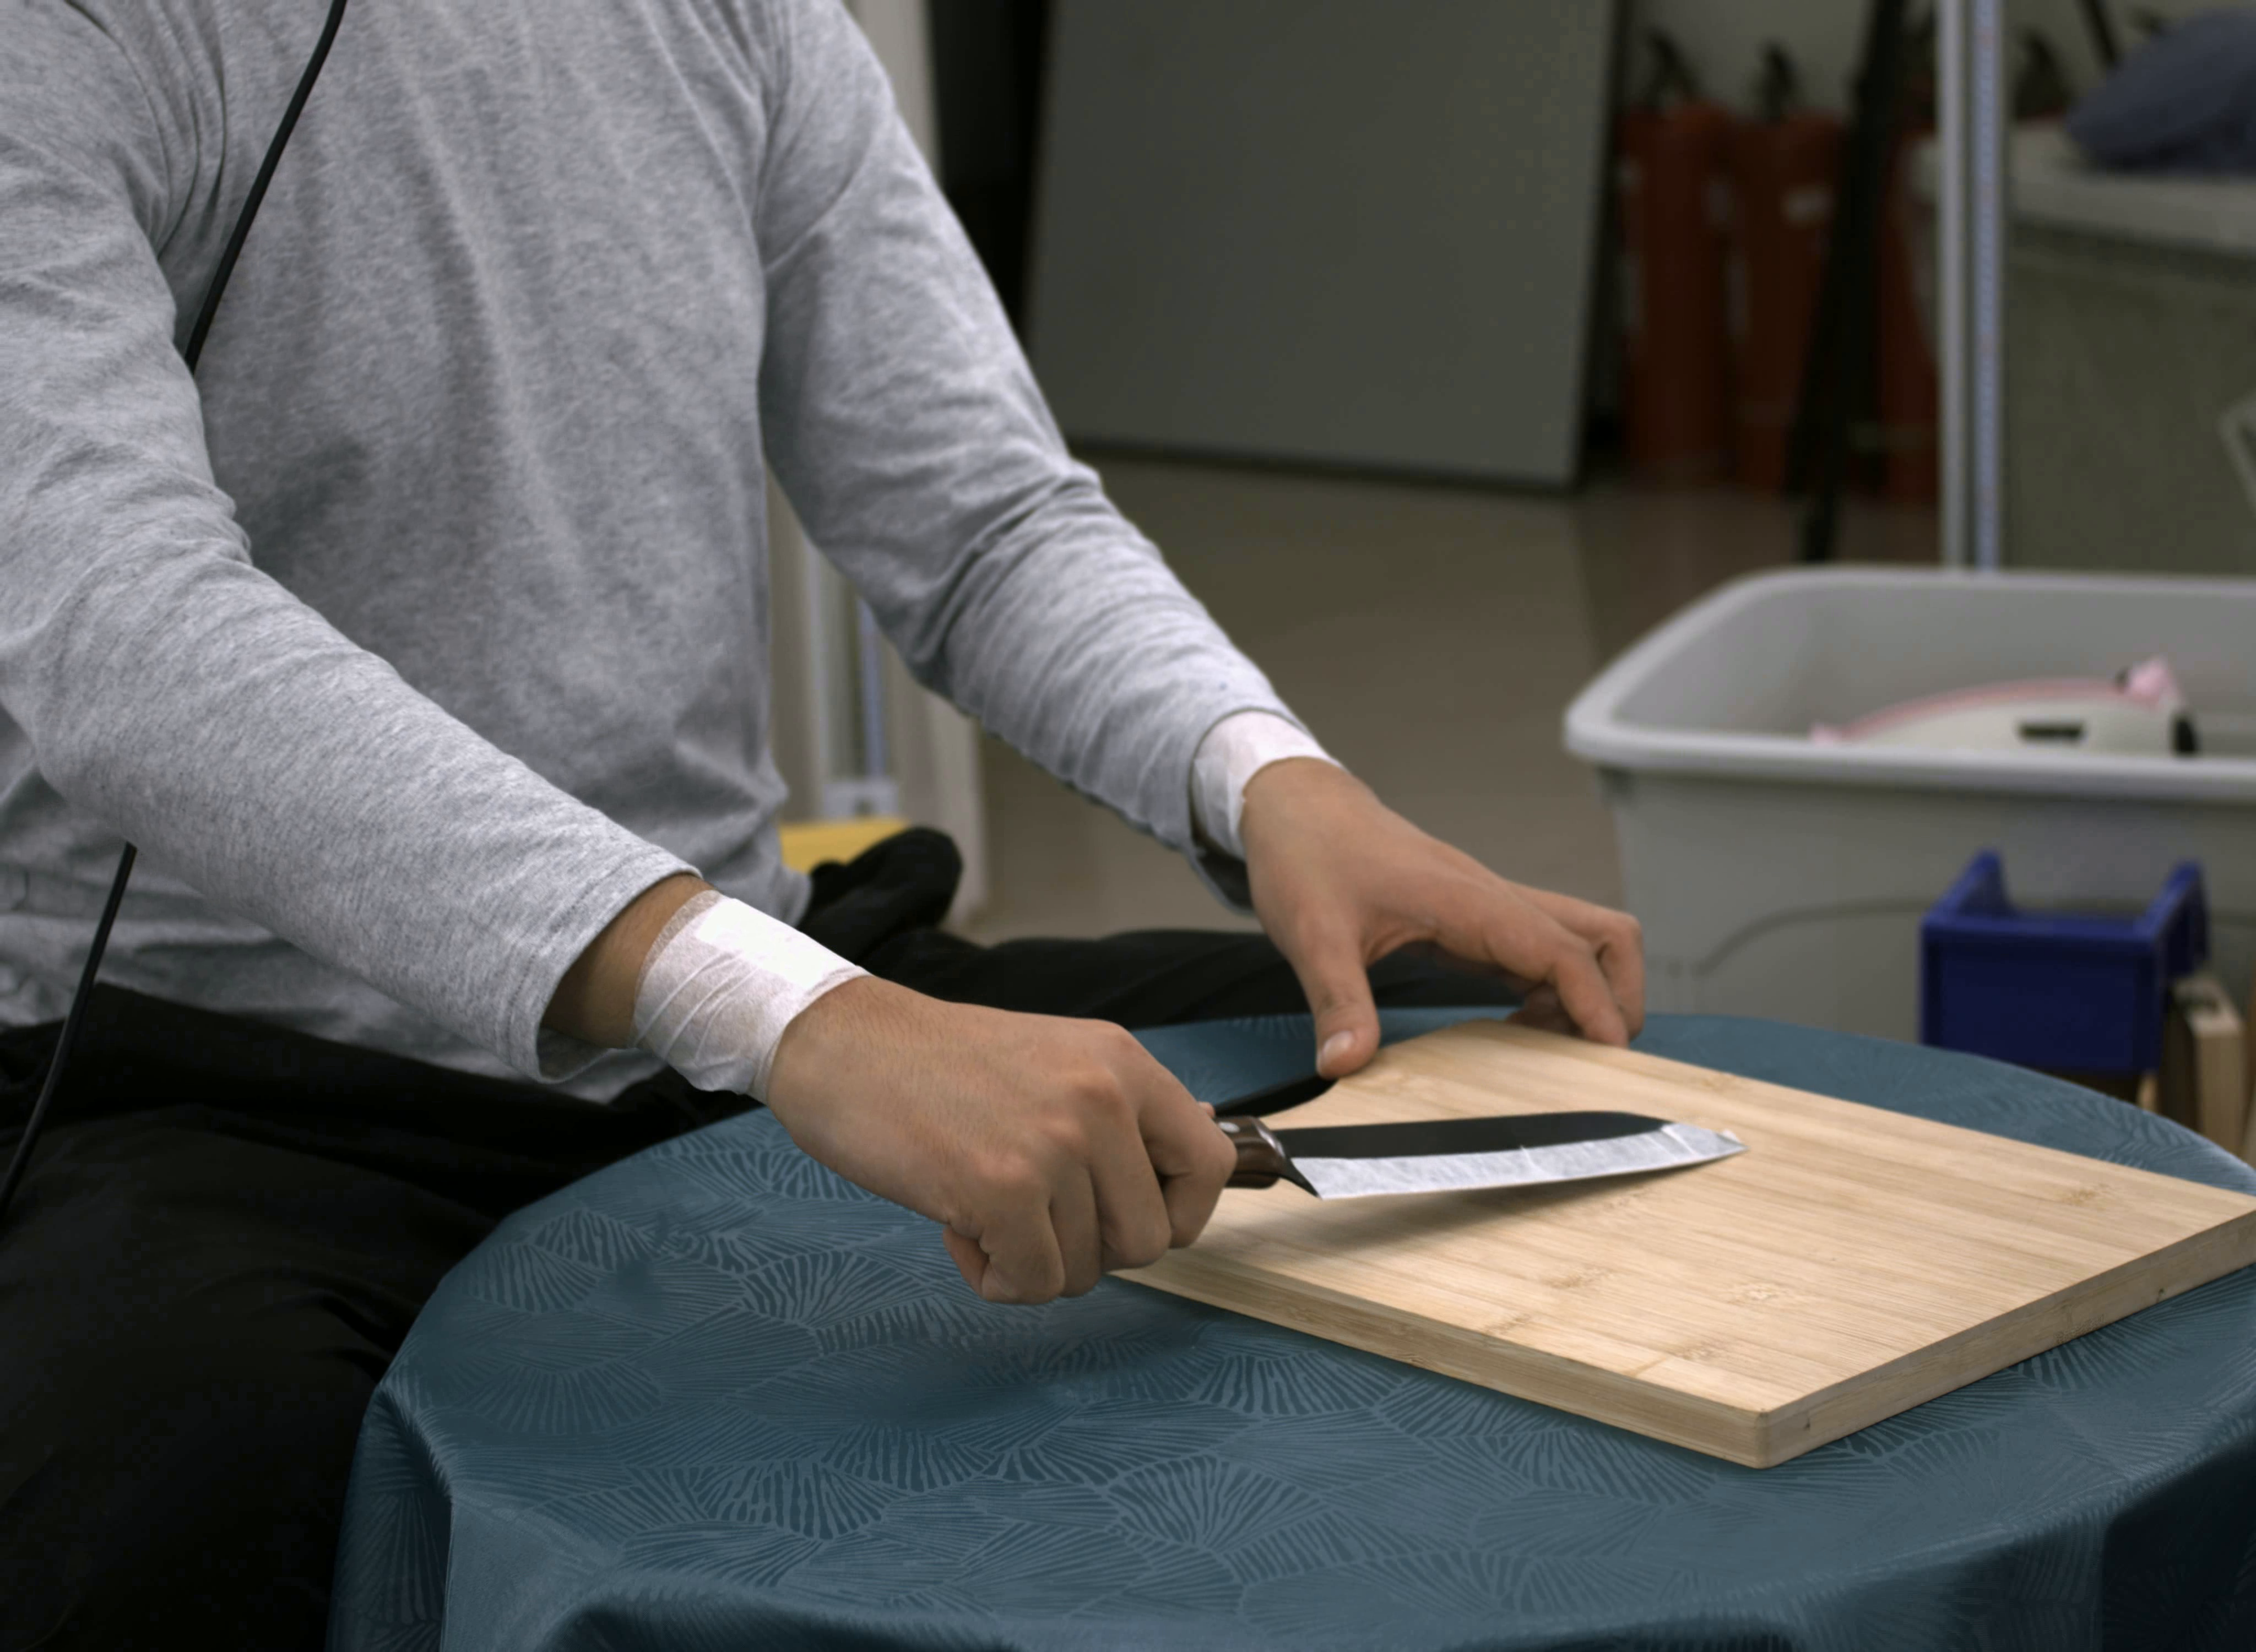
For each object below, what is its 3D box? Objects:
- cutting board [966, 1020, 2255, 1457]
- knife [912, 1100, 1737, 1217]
[{"bbox_3d":[0.147,0.123,1.690,0.245,0.024,0.352,-15,17,-40],"label":"cutting board"},{"bbox_3d":[0.066,0.102,1.664,0.282,0.020,0.051,-1,26,-25],"label":"knife"}]
